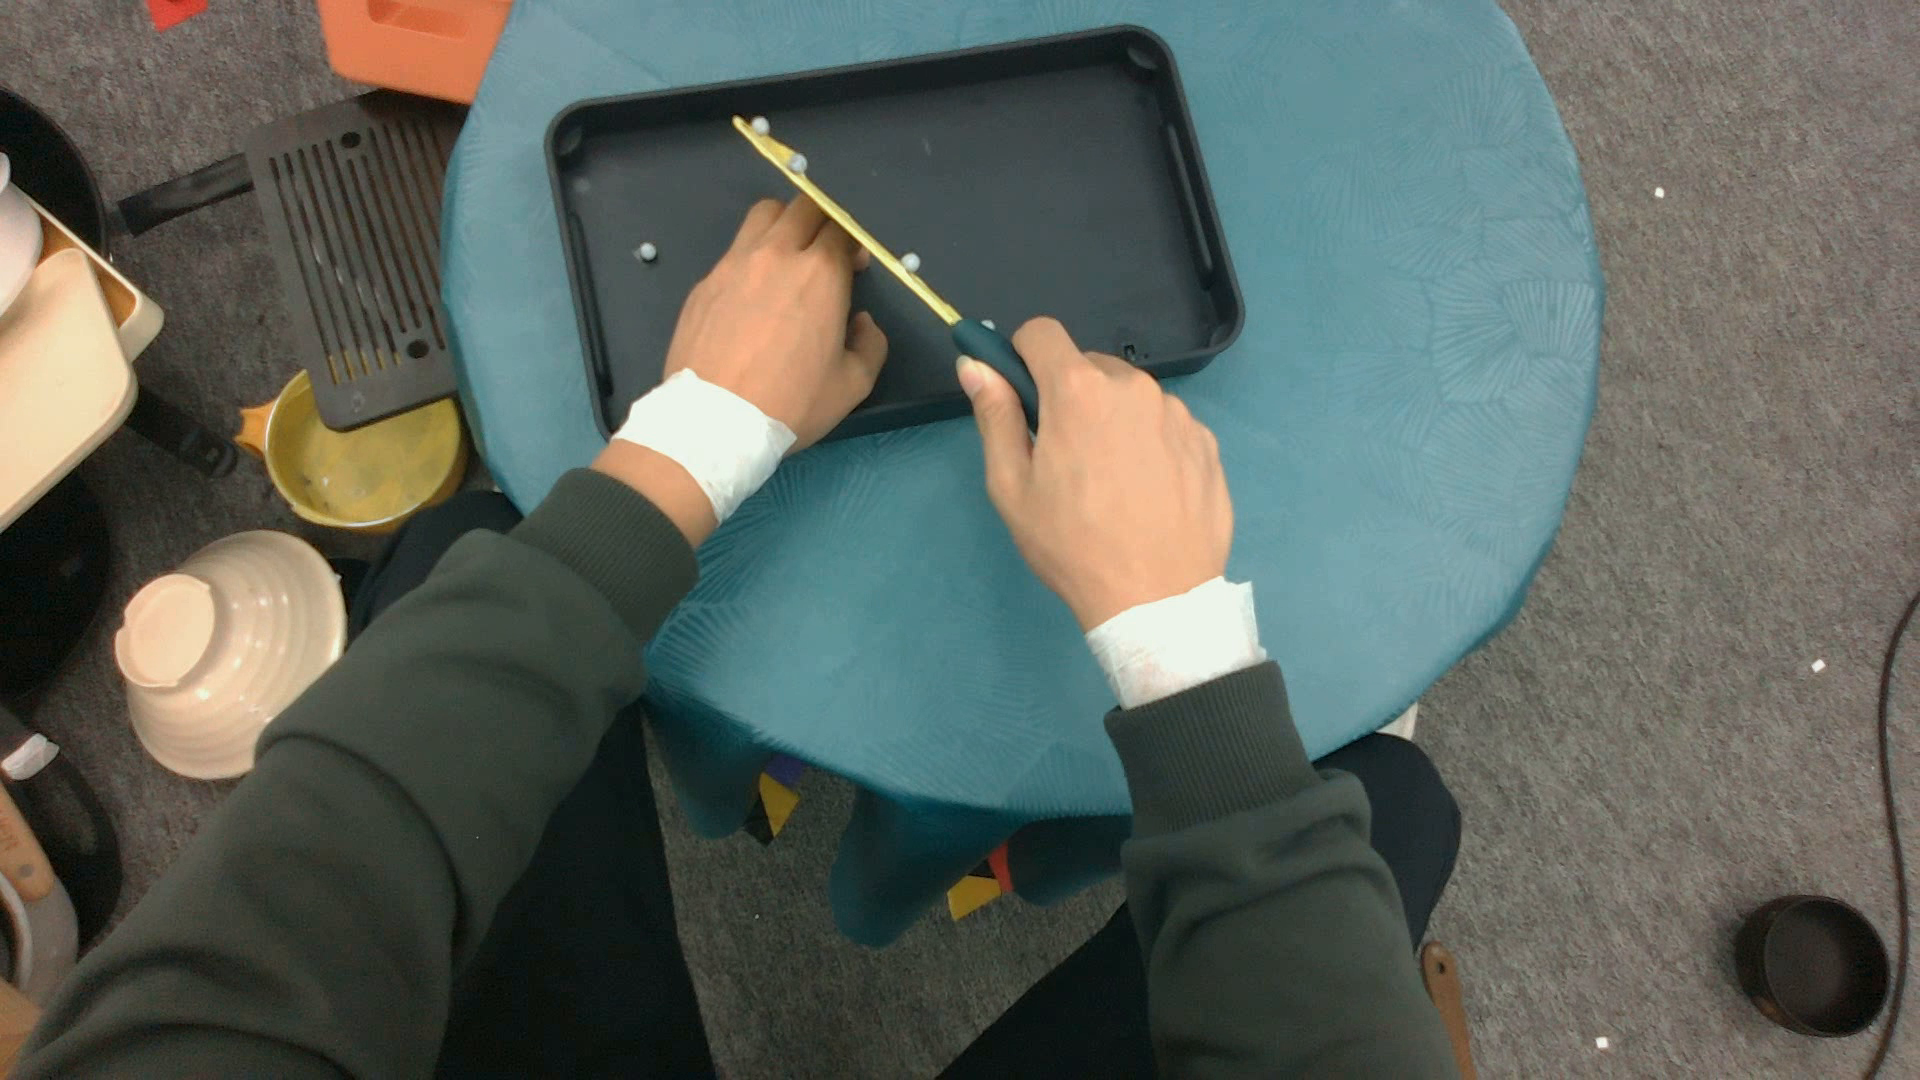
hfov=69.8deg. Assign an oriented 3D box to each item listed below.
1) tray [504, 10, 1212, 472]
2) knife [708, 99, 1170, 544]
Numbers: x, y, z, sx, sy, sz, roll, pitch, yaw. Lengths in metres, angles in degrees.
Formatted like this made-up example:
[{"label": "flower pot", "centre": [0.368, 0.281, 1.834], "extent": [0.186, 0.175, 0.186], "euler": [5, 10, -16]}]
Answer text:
[{"label": "tray", "centre": [-0.048, -0.152, 0.682], "extent": [0.318, 0.037, 0.184], "euler": [-14, 78, -11]}, {"label": "knife", "centre": [-0.015, -0.103, 0.614], "extent": [0.289, 0.081, 0.027], "euler": [45, 101, 10]}]
